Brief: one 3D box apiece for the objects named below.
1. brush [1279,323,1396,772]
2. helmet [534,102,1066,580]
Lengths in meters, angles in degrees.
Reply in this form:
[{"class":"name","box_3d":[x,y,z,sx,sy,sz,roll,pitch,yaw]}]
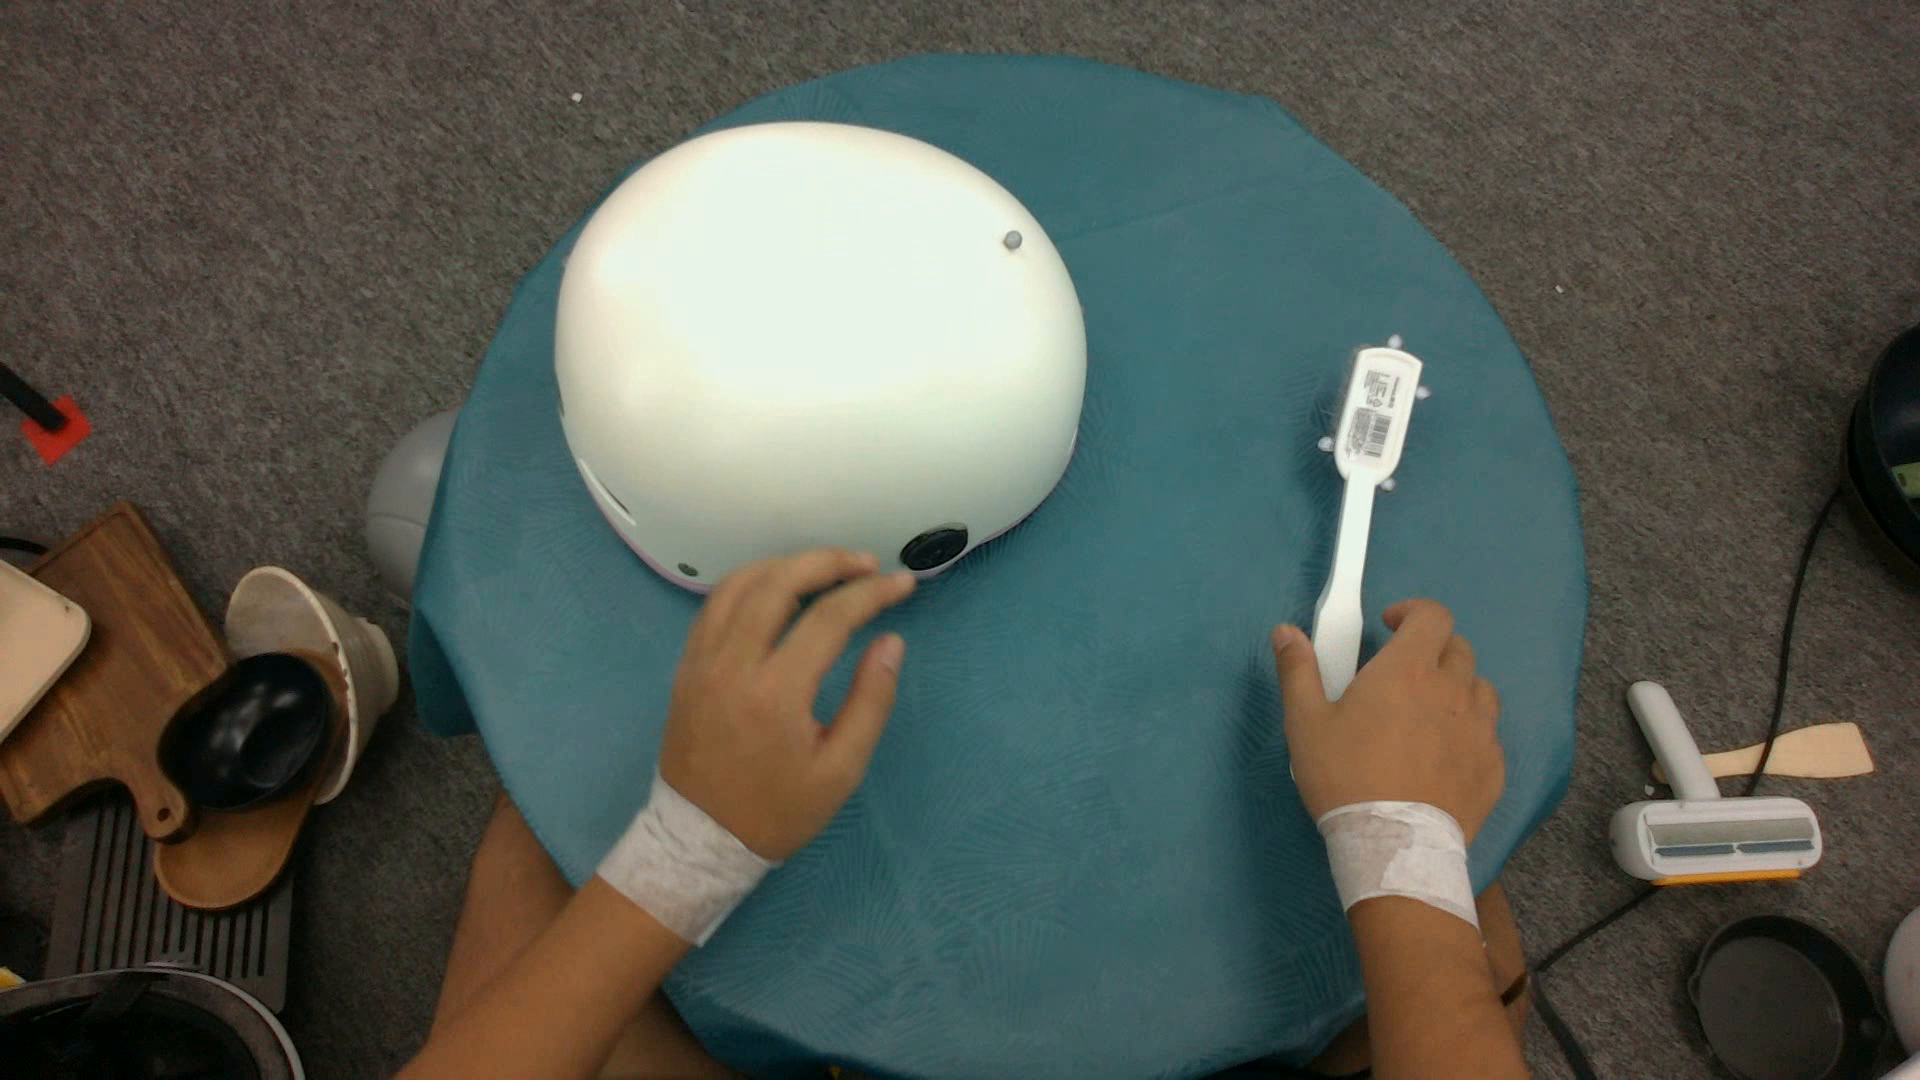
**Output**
[{"class":"brush","box_3d":[0.190,0.000,0.713,0.034,0.050,0.244,11,79,4]},{"class":"helmet","box_3d":[-0.074,-0.114,0.667,0.269,0.166,0.237,-12,67,-10]}]
